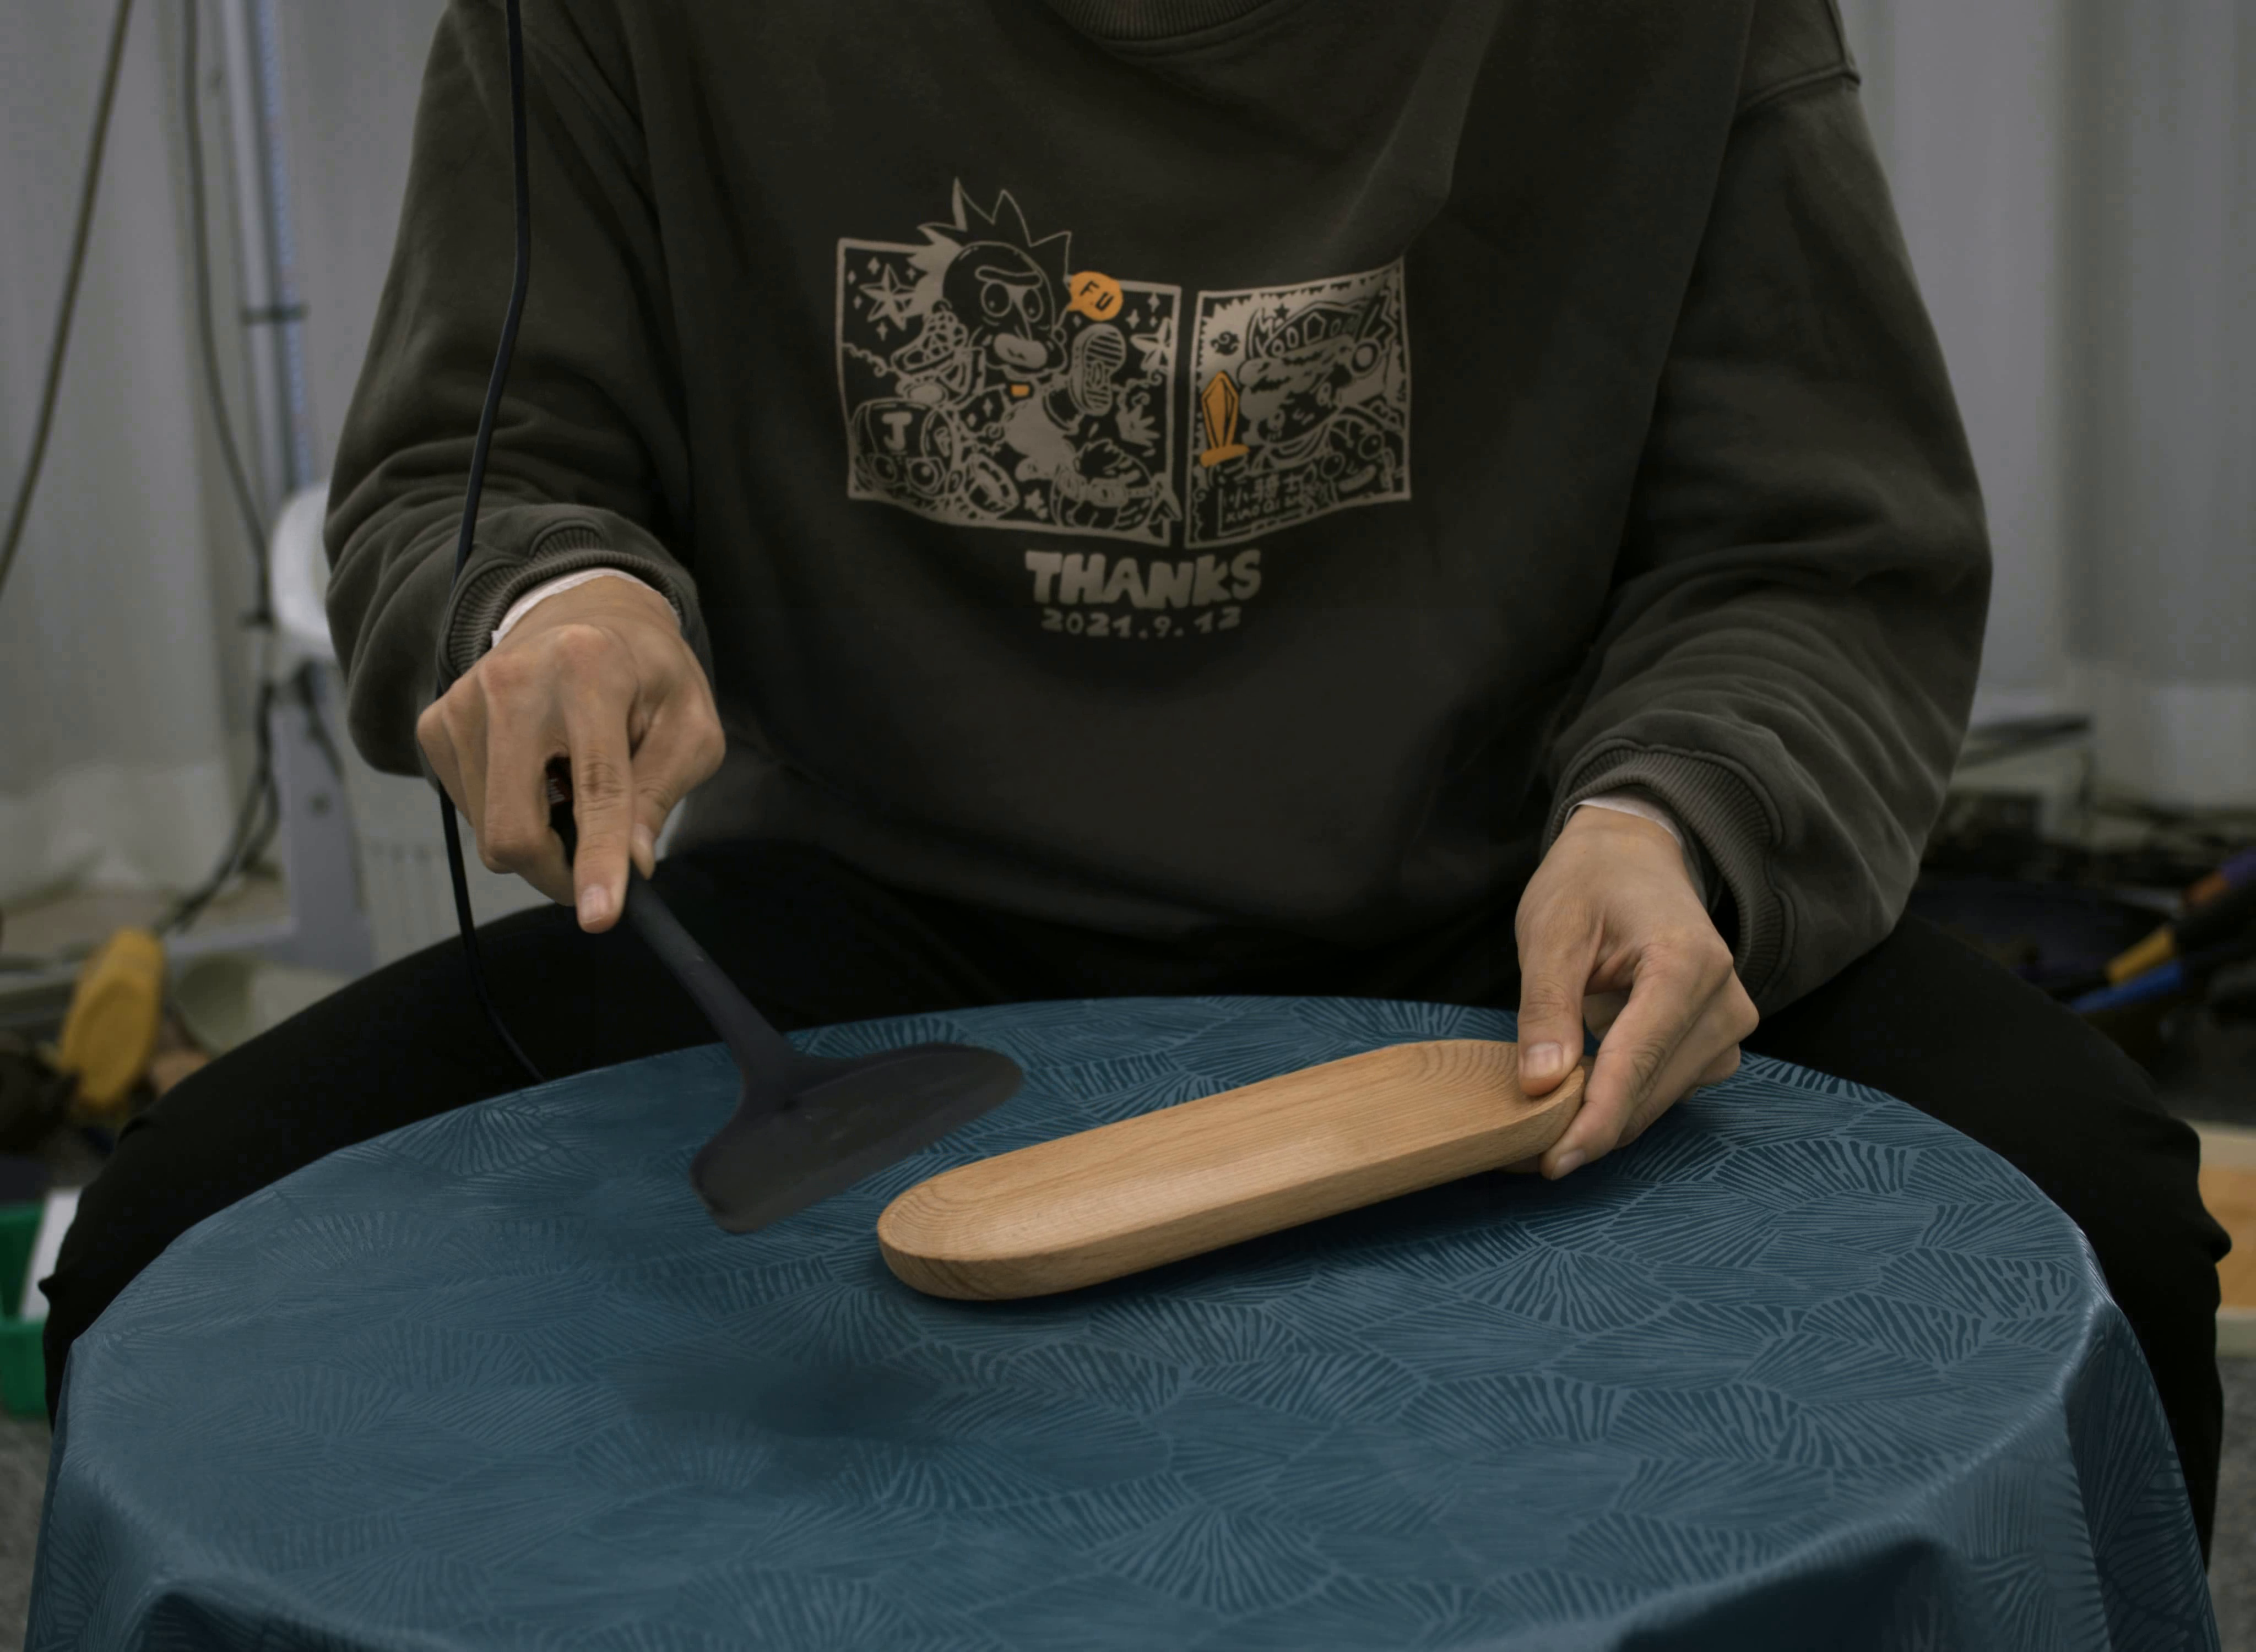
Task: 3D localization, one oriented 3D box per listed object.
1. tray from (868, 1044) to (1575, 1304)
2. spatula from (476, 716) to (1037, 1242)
[{"bbox_3d":[0.031,0.107,1.682,0.230,0.020,0.102,-16,16,-21],"label":"tray"},{"bbox_3d":[-0.135,0.033,1.647,0.099,0.040,0.330,-26,39,-16],"label":"spatula"}]
